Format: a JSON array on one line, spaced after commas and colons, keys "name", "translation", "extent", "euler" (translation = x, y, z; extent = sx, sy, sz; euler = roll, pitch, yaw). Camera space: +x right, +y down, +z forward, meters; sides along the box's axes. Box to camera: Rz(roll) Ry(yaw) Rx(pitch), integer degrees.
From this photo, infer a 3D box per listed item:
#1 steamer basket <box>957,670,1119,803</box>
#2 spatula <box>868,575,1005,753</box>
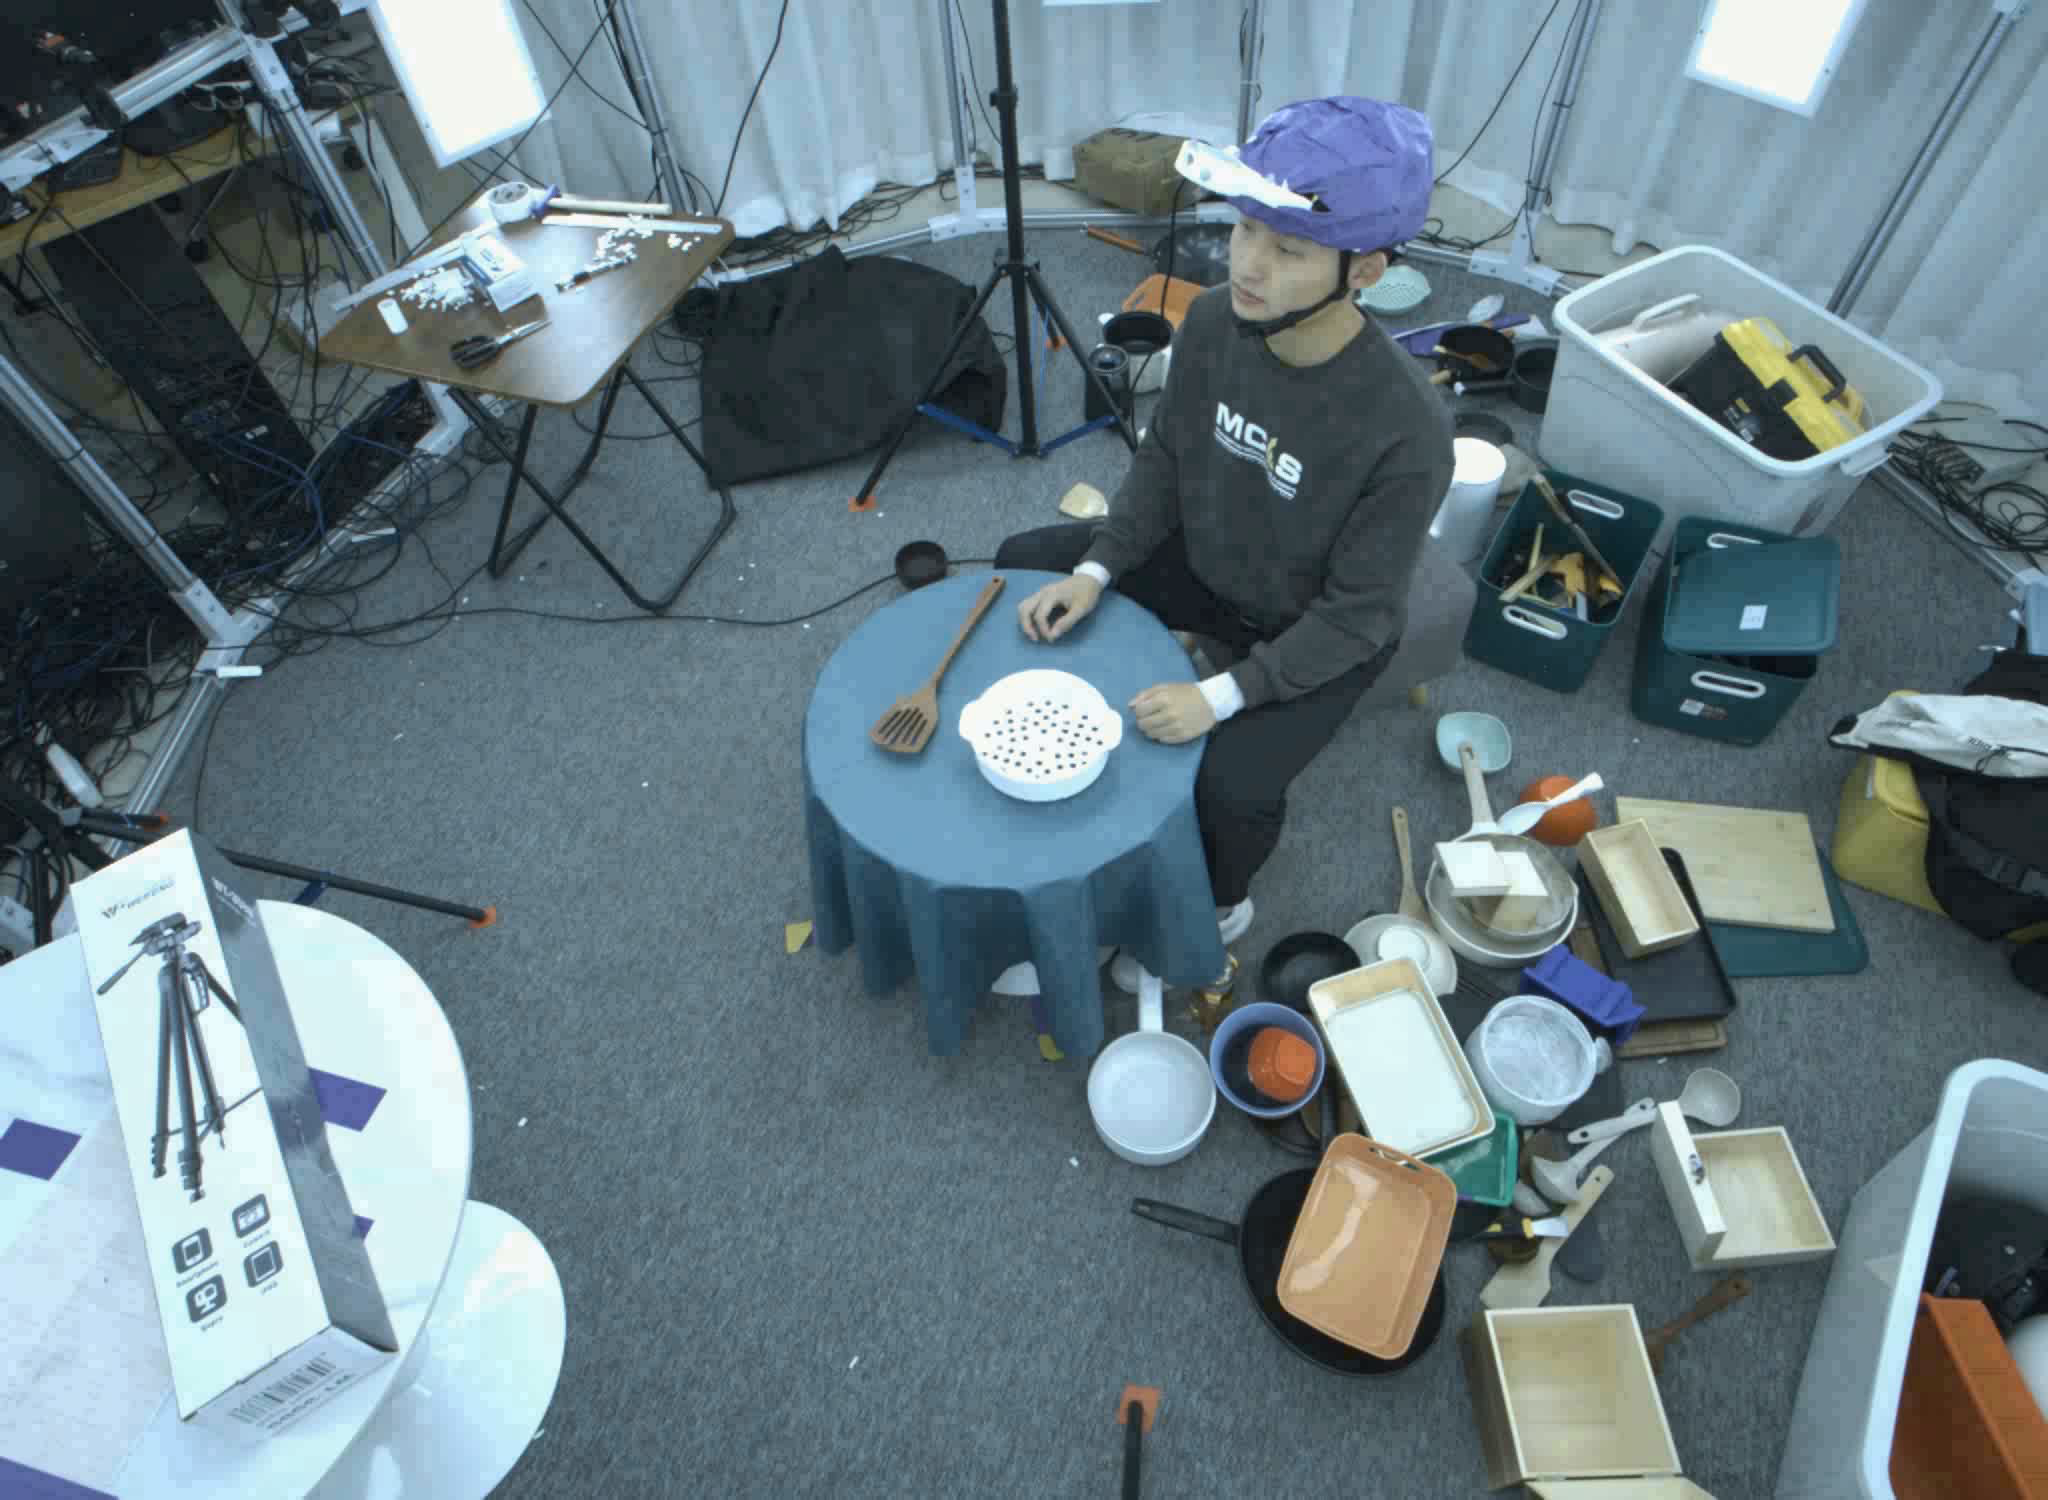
[{"name": "steamer basket", "translation": [0.020, -0.018, 1.770], "extent": [0.230, 0.070, 0.200], "euler": [7, 57, 2]}, {"name": "spatula", "translation": [-0.117, -0.140, 1.885], "extent": [0.085, 0.024, 0.385], "euler": [20, 56, 12]}]
